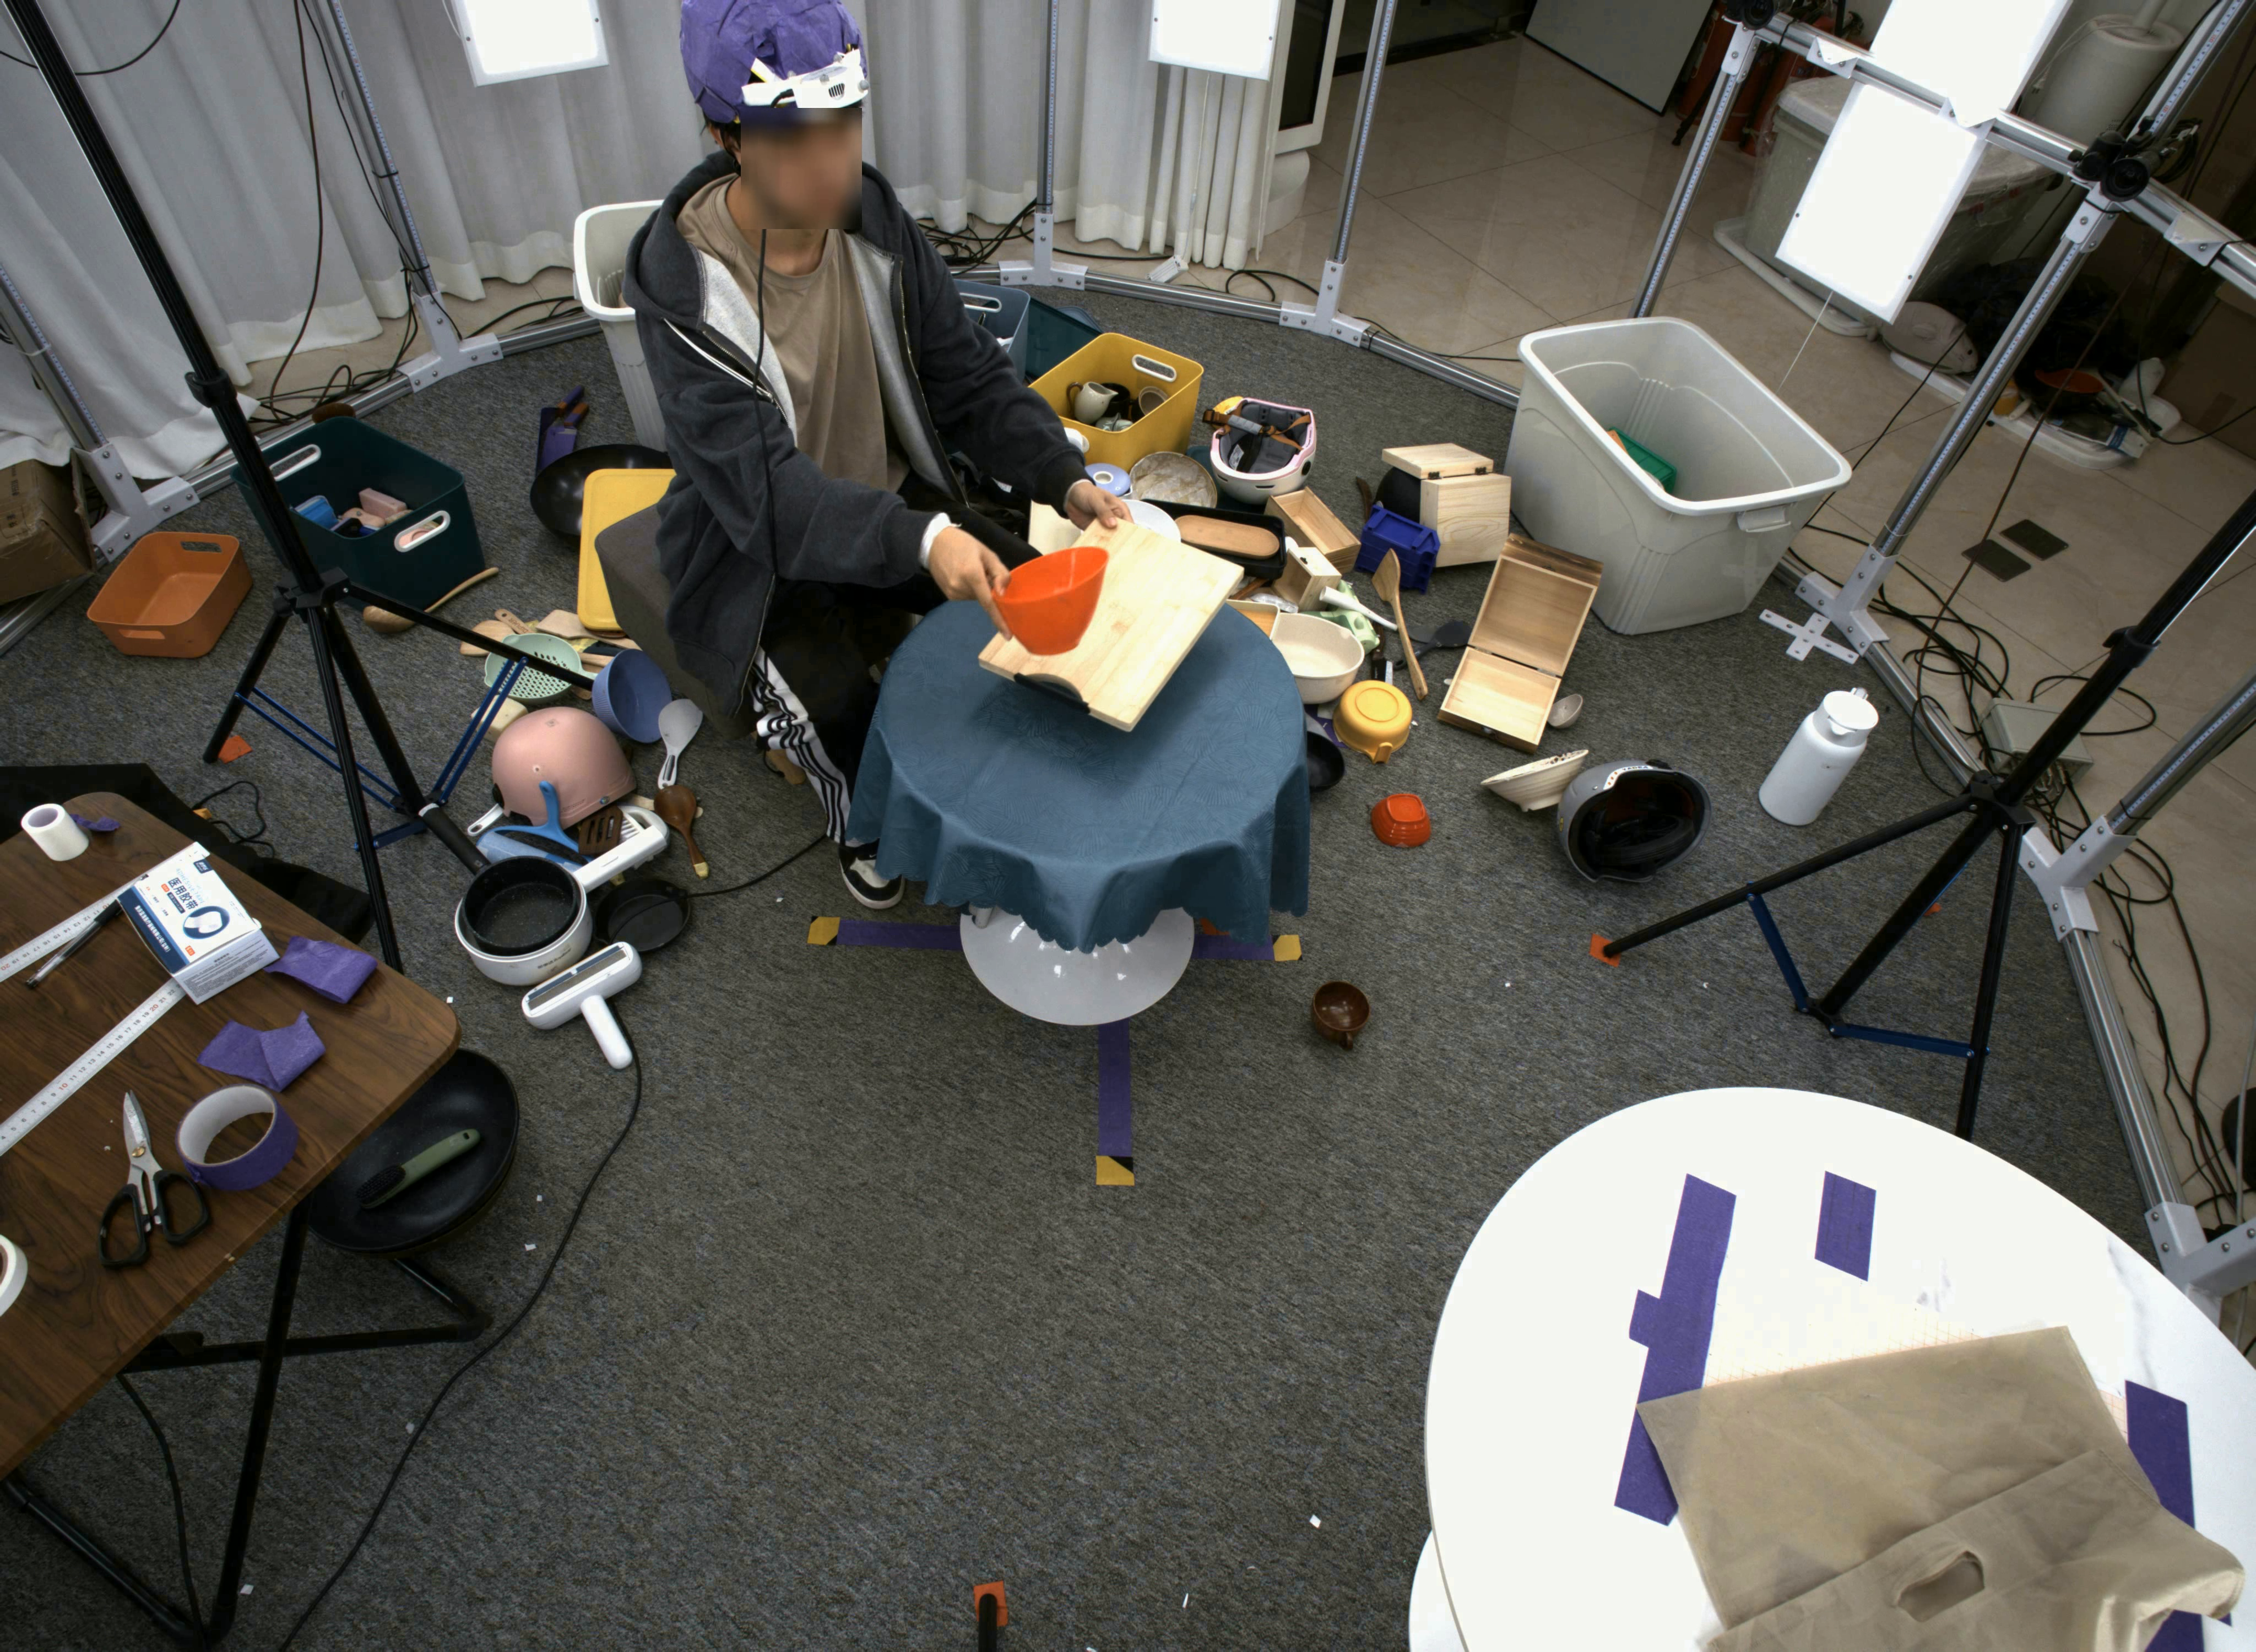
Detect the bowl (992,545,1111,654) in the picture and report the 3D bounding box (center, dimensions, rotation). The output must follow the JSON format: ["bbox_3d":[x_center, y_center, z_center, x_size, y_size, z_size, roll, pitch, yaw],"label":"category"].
[{"bbox_3d":[-0.087,-0.271,1.559,0.148,0.102,0.151,-6,27,3],"label":"bowl"}]

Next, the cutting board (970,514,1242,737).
[{"bbox_3d":[-0.023,-0.292,1.809,0.252,0.023,0.354,24,56,17],"label":"cutting board"}]
